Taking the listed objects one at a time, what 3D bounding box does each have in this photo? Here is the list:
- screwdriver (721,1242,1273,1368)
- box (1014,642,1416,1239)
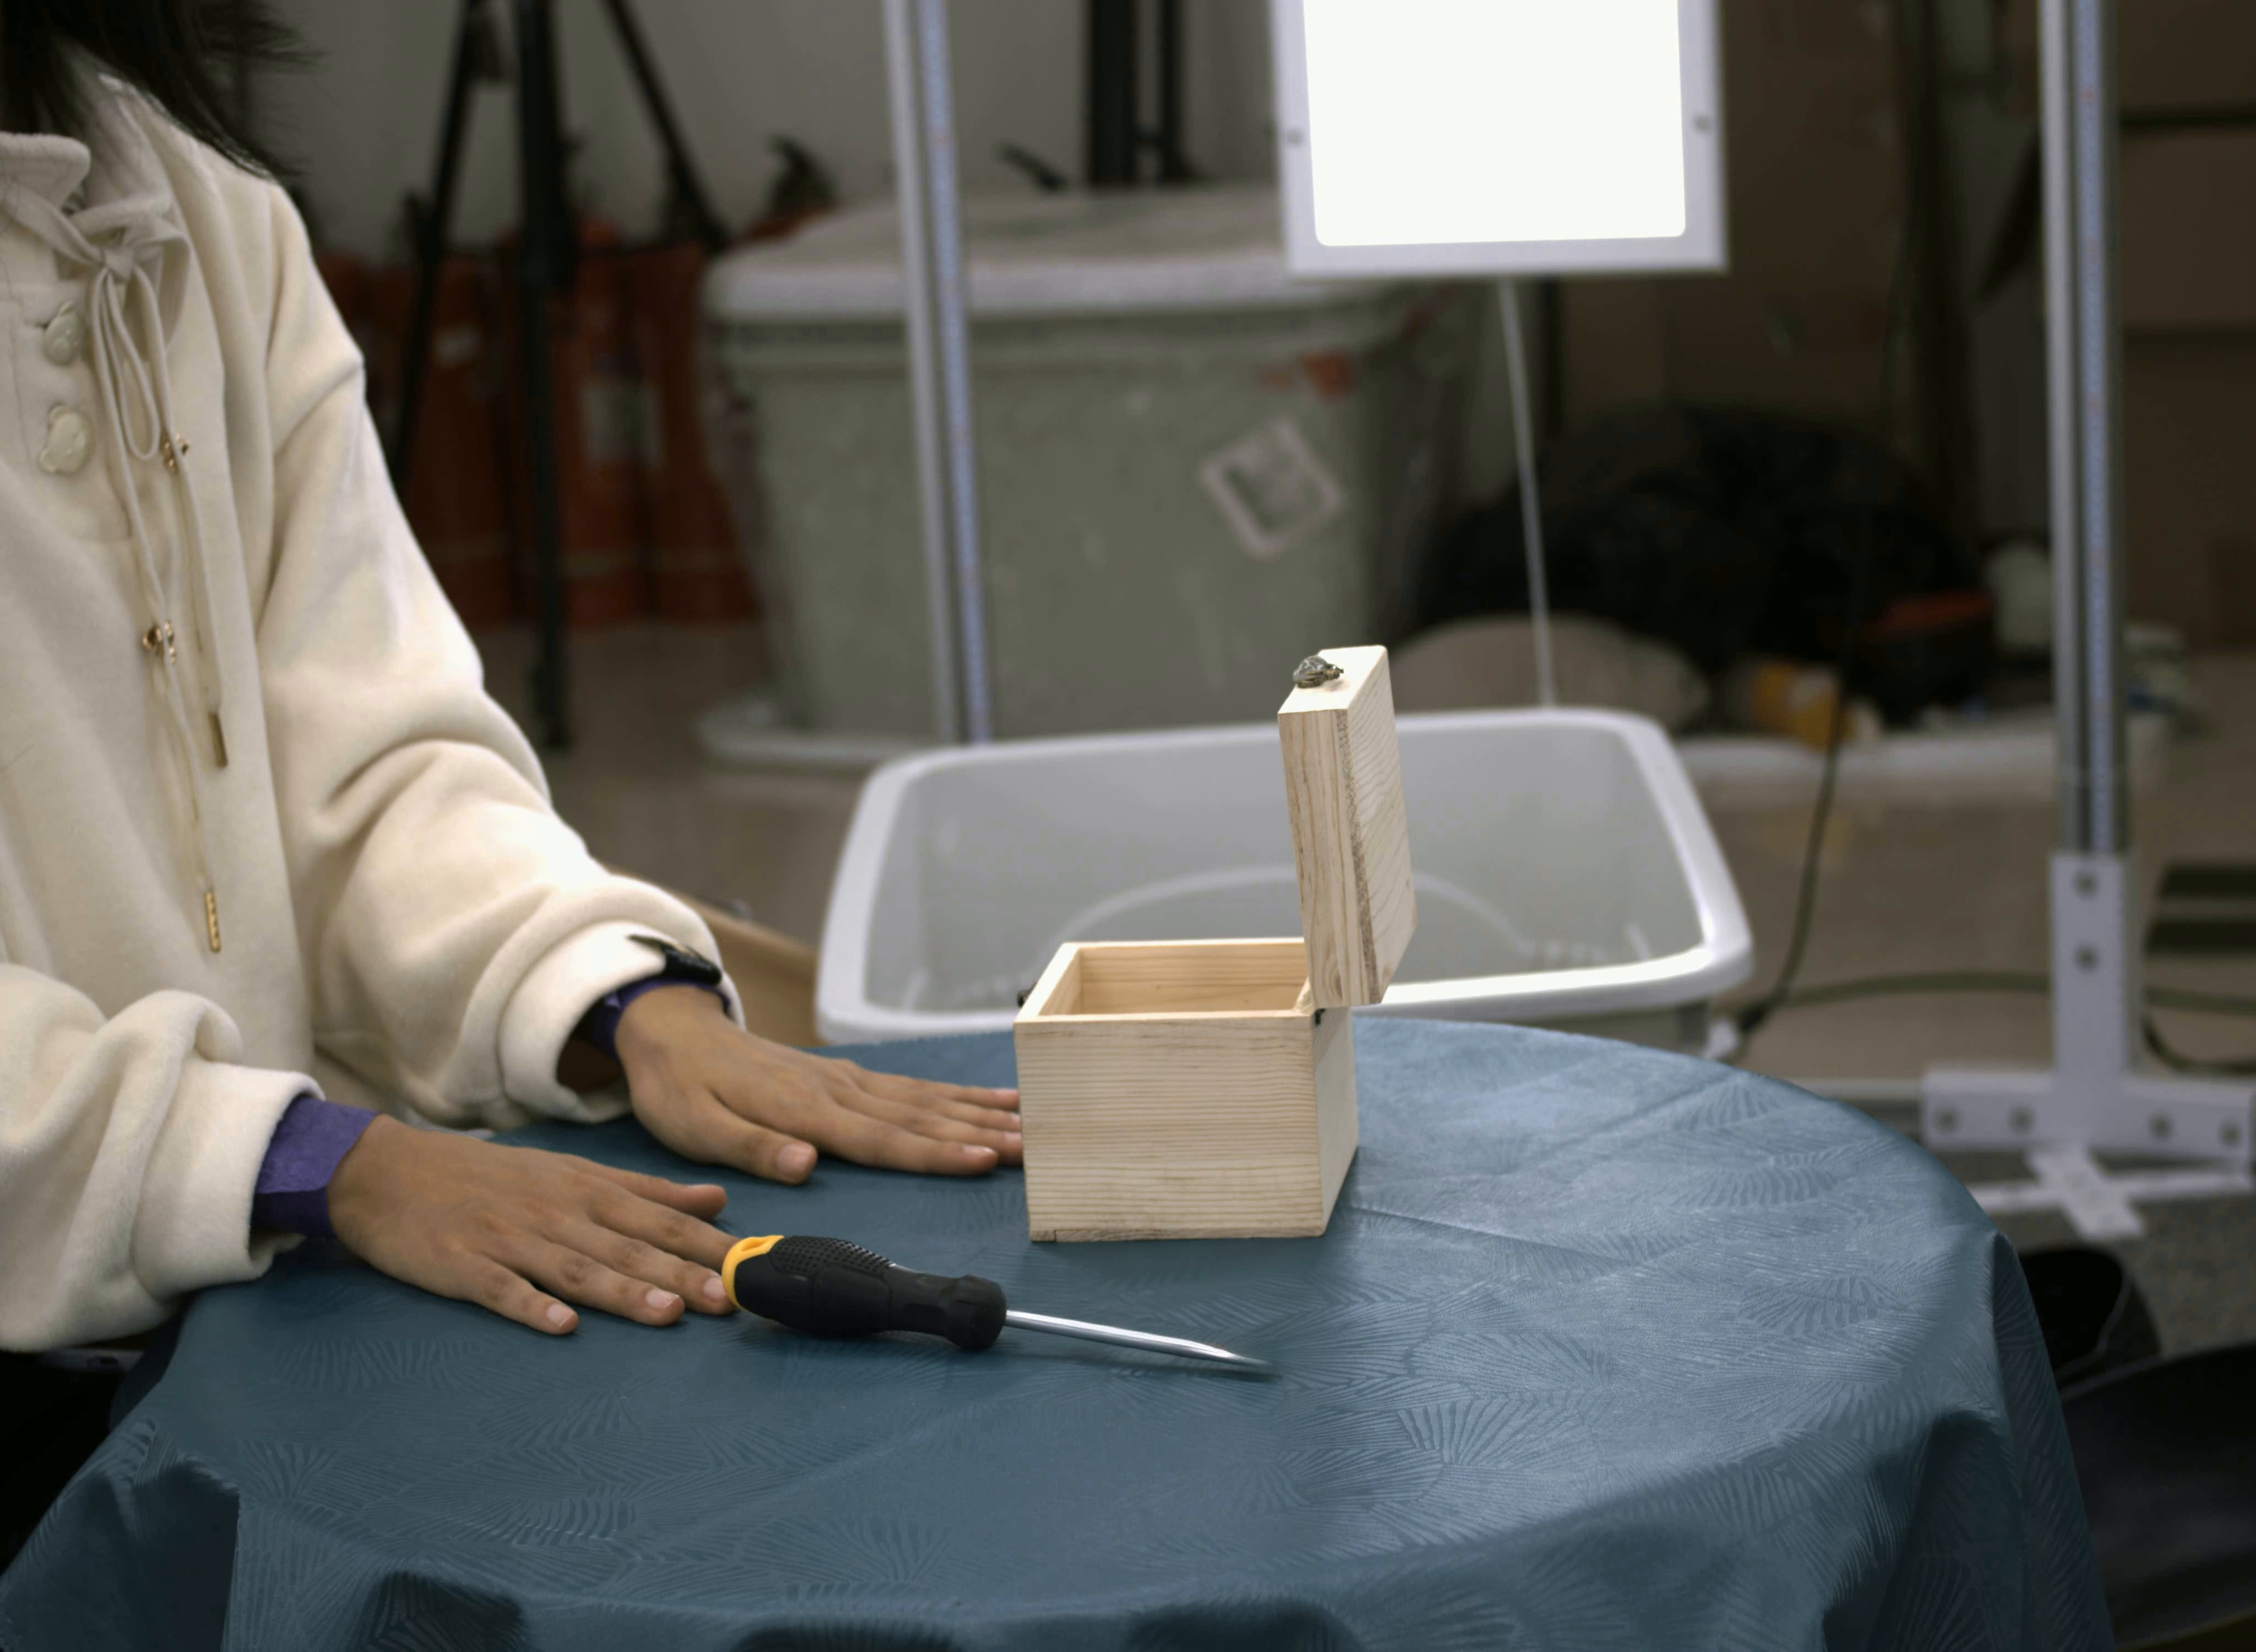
[{"bbox_3d":[-0.044,0.157,1.747,0.201,0.031,0.031,7,17,32],"label":"screwdriver"},{"bbox_3d":[0.027,0.037,1.868,0.135,0.185,0.101,-1,14,11],"label":"box"}]
